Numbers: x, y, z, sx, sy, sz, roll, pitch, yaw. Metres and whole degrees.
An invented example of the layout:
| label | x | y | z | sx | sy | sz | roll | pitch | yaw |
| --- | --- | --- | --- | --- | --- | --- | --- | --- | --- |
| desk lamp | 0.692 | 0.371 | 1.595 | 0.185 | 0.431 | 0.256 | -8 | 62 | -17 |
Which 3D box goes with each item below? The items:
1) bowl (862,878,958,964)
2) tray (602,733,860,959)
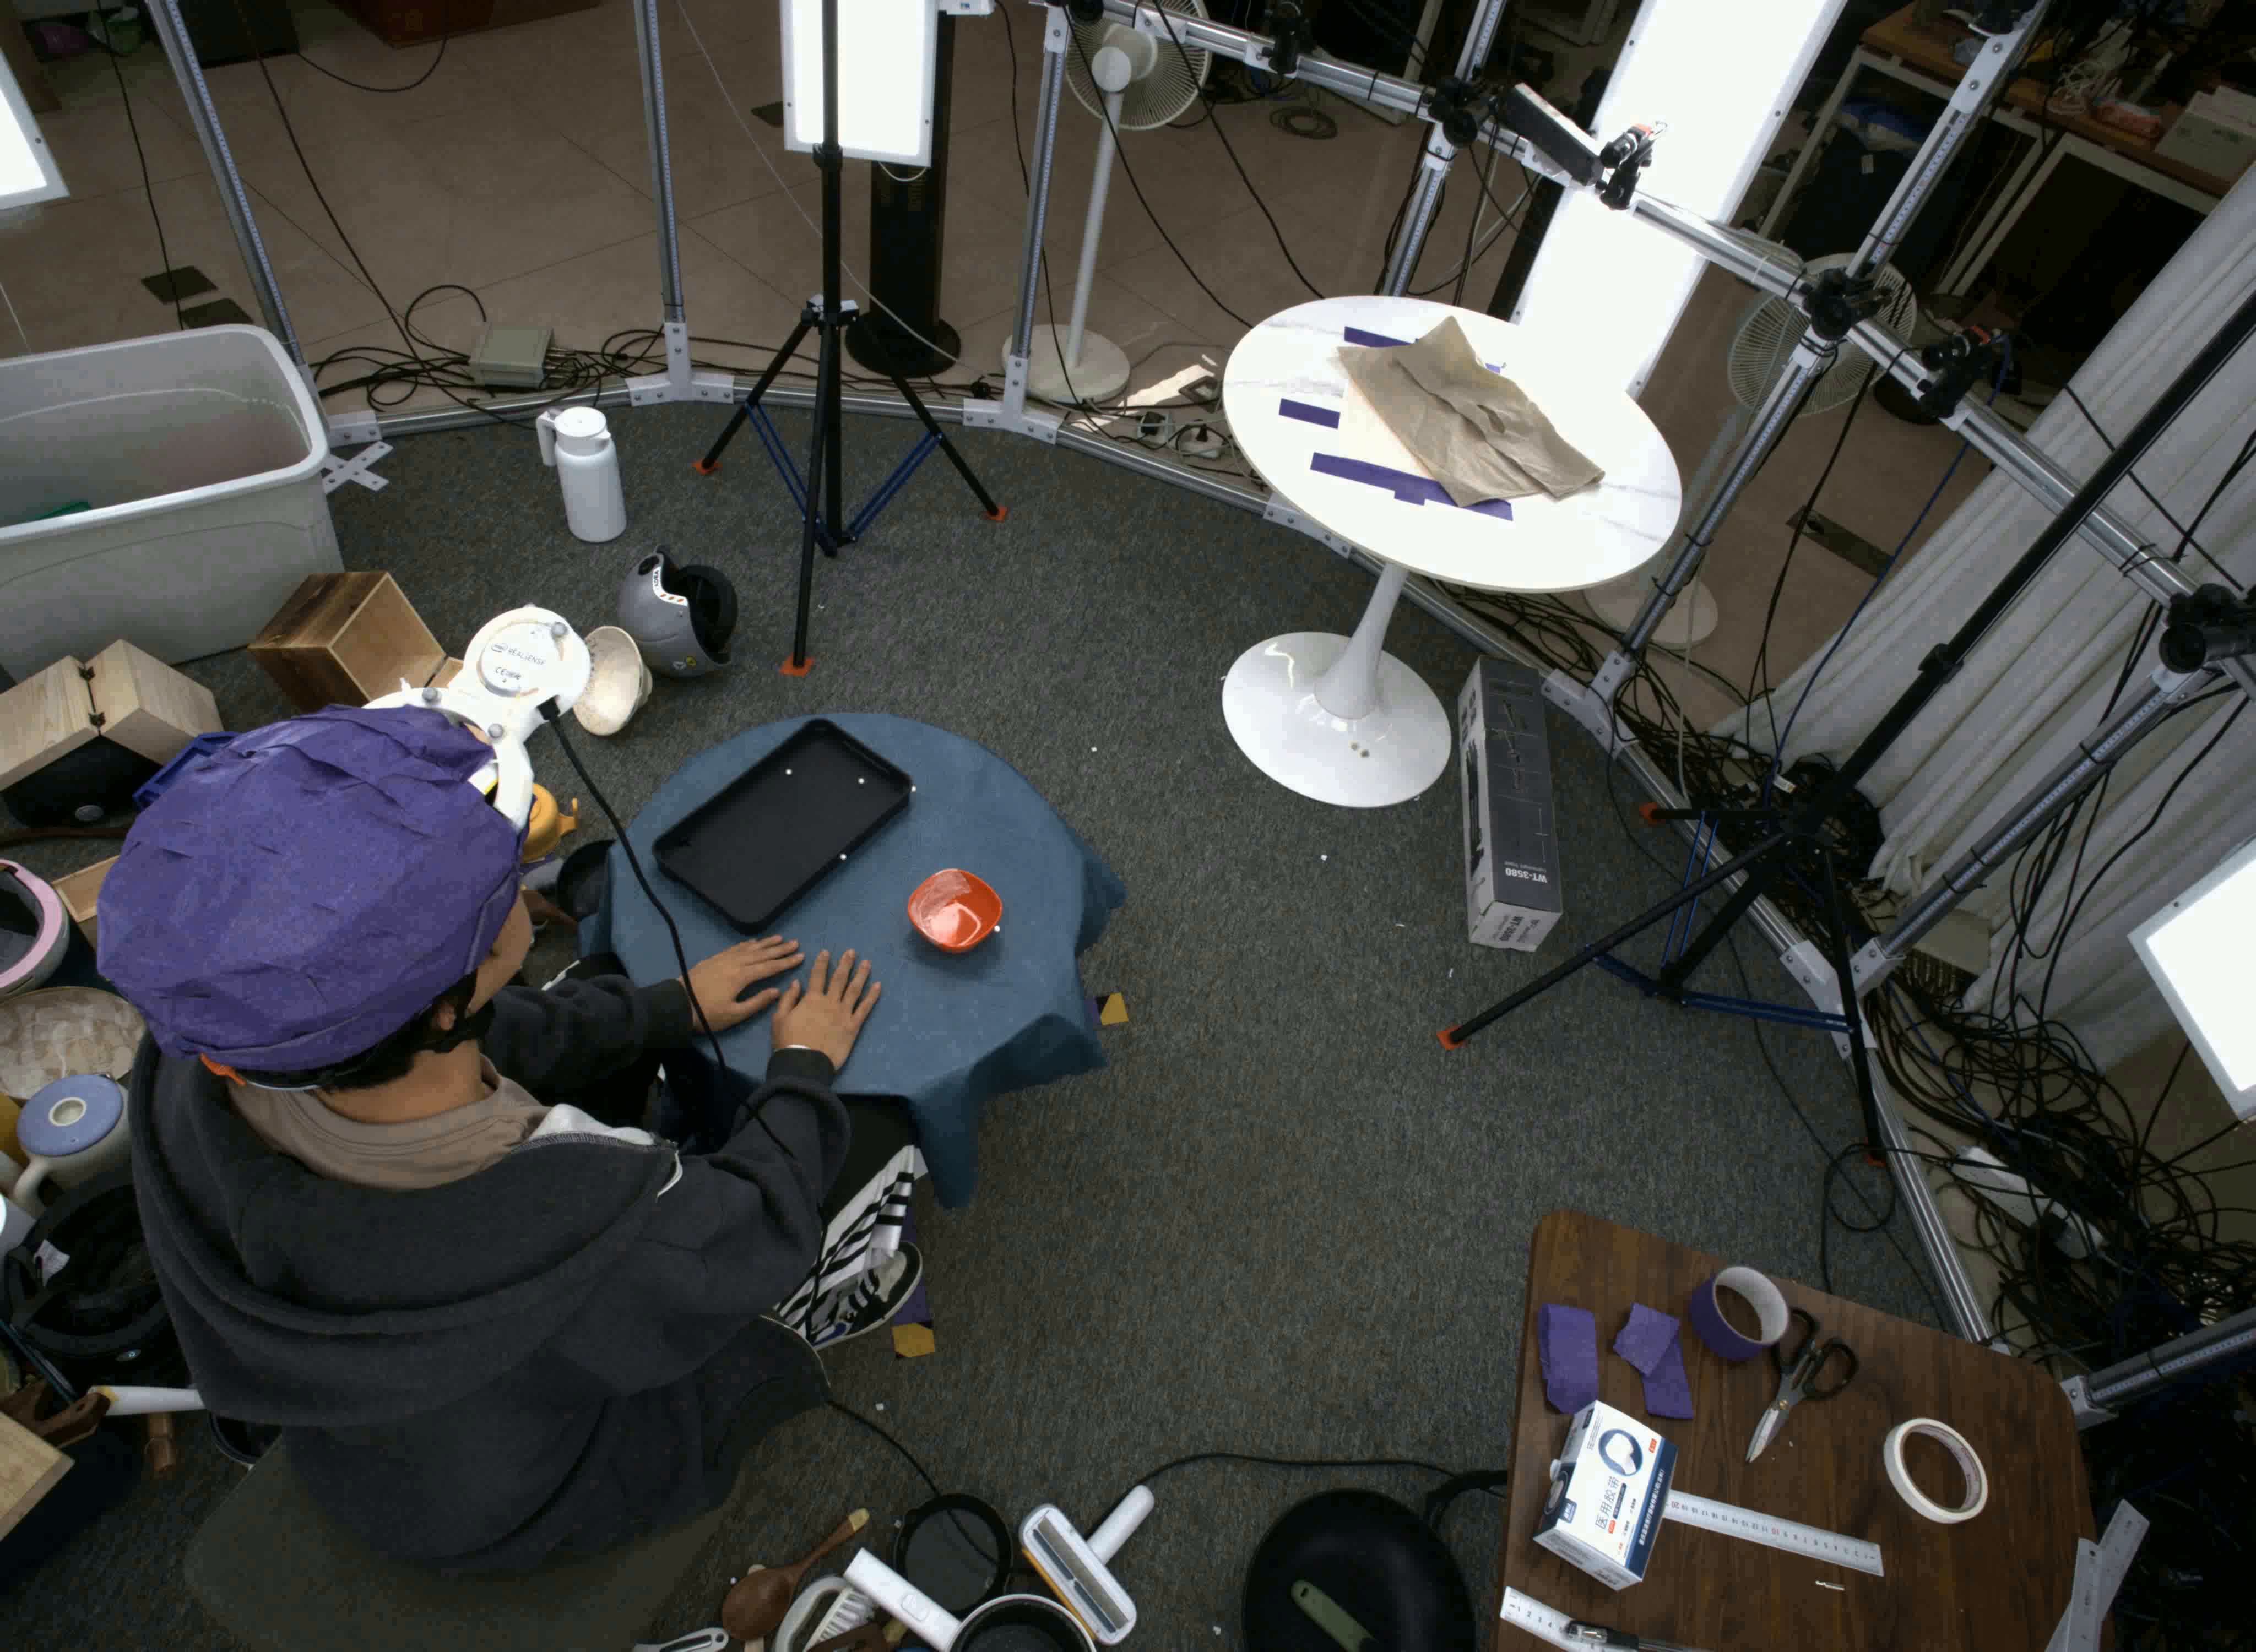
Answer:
| label | x | y | z | sx | sy | sz | roll | pitch | yaw |
| --- | --- | --- | --- | --- | --- | --- | --- | --- | --- |
| bowl | -0.275 | 0.126 | 1.637 | 0.119 | 0.052 | 0.117 | 9 | 51 | -9 |
| tray | -0.508 | 0.017 | 1.670 | 0.181 | 0.038 | 0.317 | 32 | 52 | 10 |
